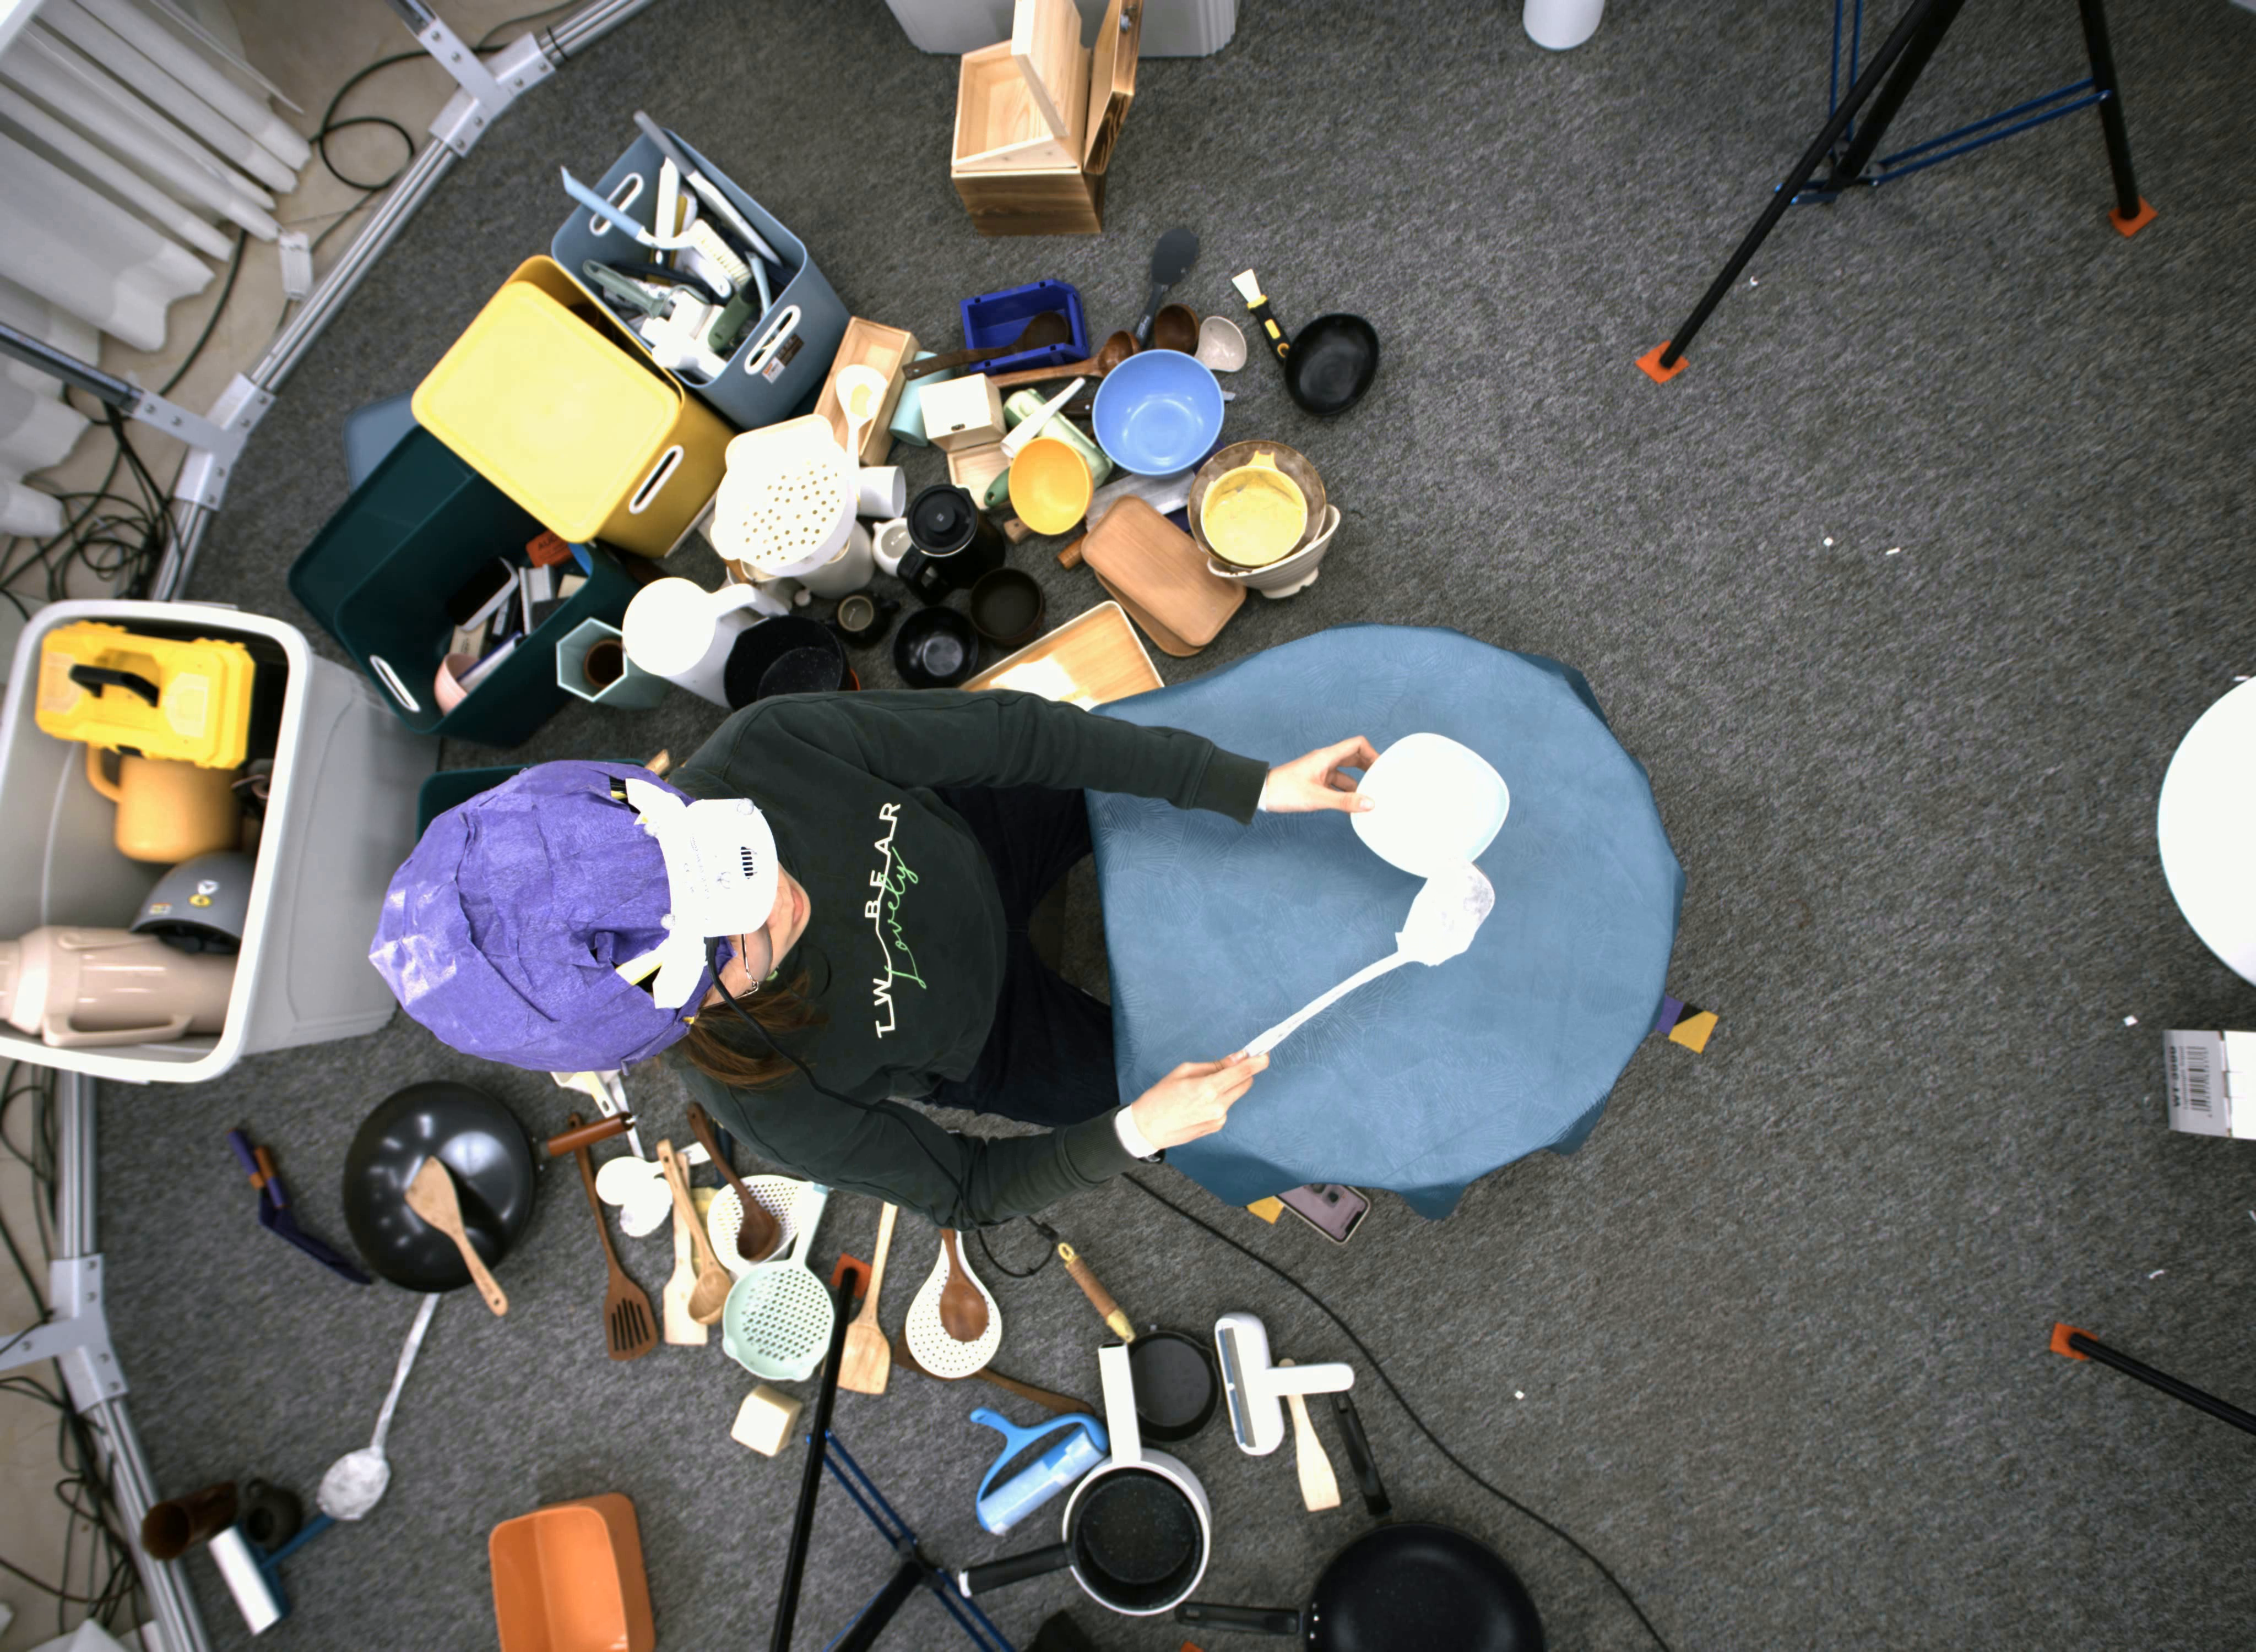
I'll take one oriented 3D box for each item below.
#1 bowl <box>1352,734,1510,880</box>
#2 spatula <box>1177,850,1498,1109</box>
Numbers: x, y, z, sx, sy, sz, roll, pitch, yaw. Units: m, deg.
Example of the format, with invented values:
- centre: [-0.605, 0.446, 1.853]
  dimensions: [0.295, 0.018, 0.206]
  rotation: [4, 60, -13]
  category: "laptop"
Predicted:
- centre: [0.295, -0.028, 1.353]
  dimensions: [0.152, 0.057, 0.154]
  rotation: [3, 114, 7]
  category: "bowl"
- centre: [0.186, 0.153, 1.283]
  dimensions: [0.367, 0.097, 0.045]
  rotation: [-35, 122, 6]
  category: "spatula"
